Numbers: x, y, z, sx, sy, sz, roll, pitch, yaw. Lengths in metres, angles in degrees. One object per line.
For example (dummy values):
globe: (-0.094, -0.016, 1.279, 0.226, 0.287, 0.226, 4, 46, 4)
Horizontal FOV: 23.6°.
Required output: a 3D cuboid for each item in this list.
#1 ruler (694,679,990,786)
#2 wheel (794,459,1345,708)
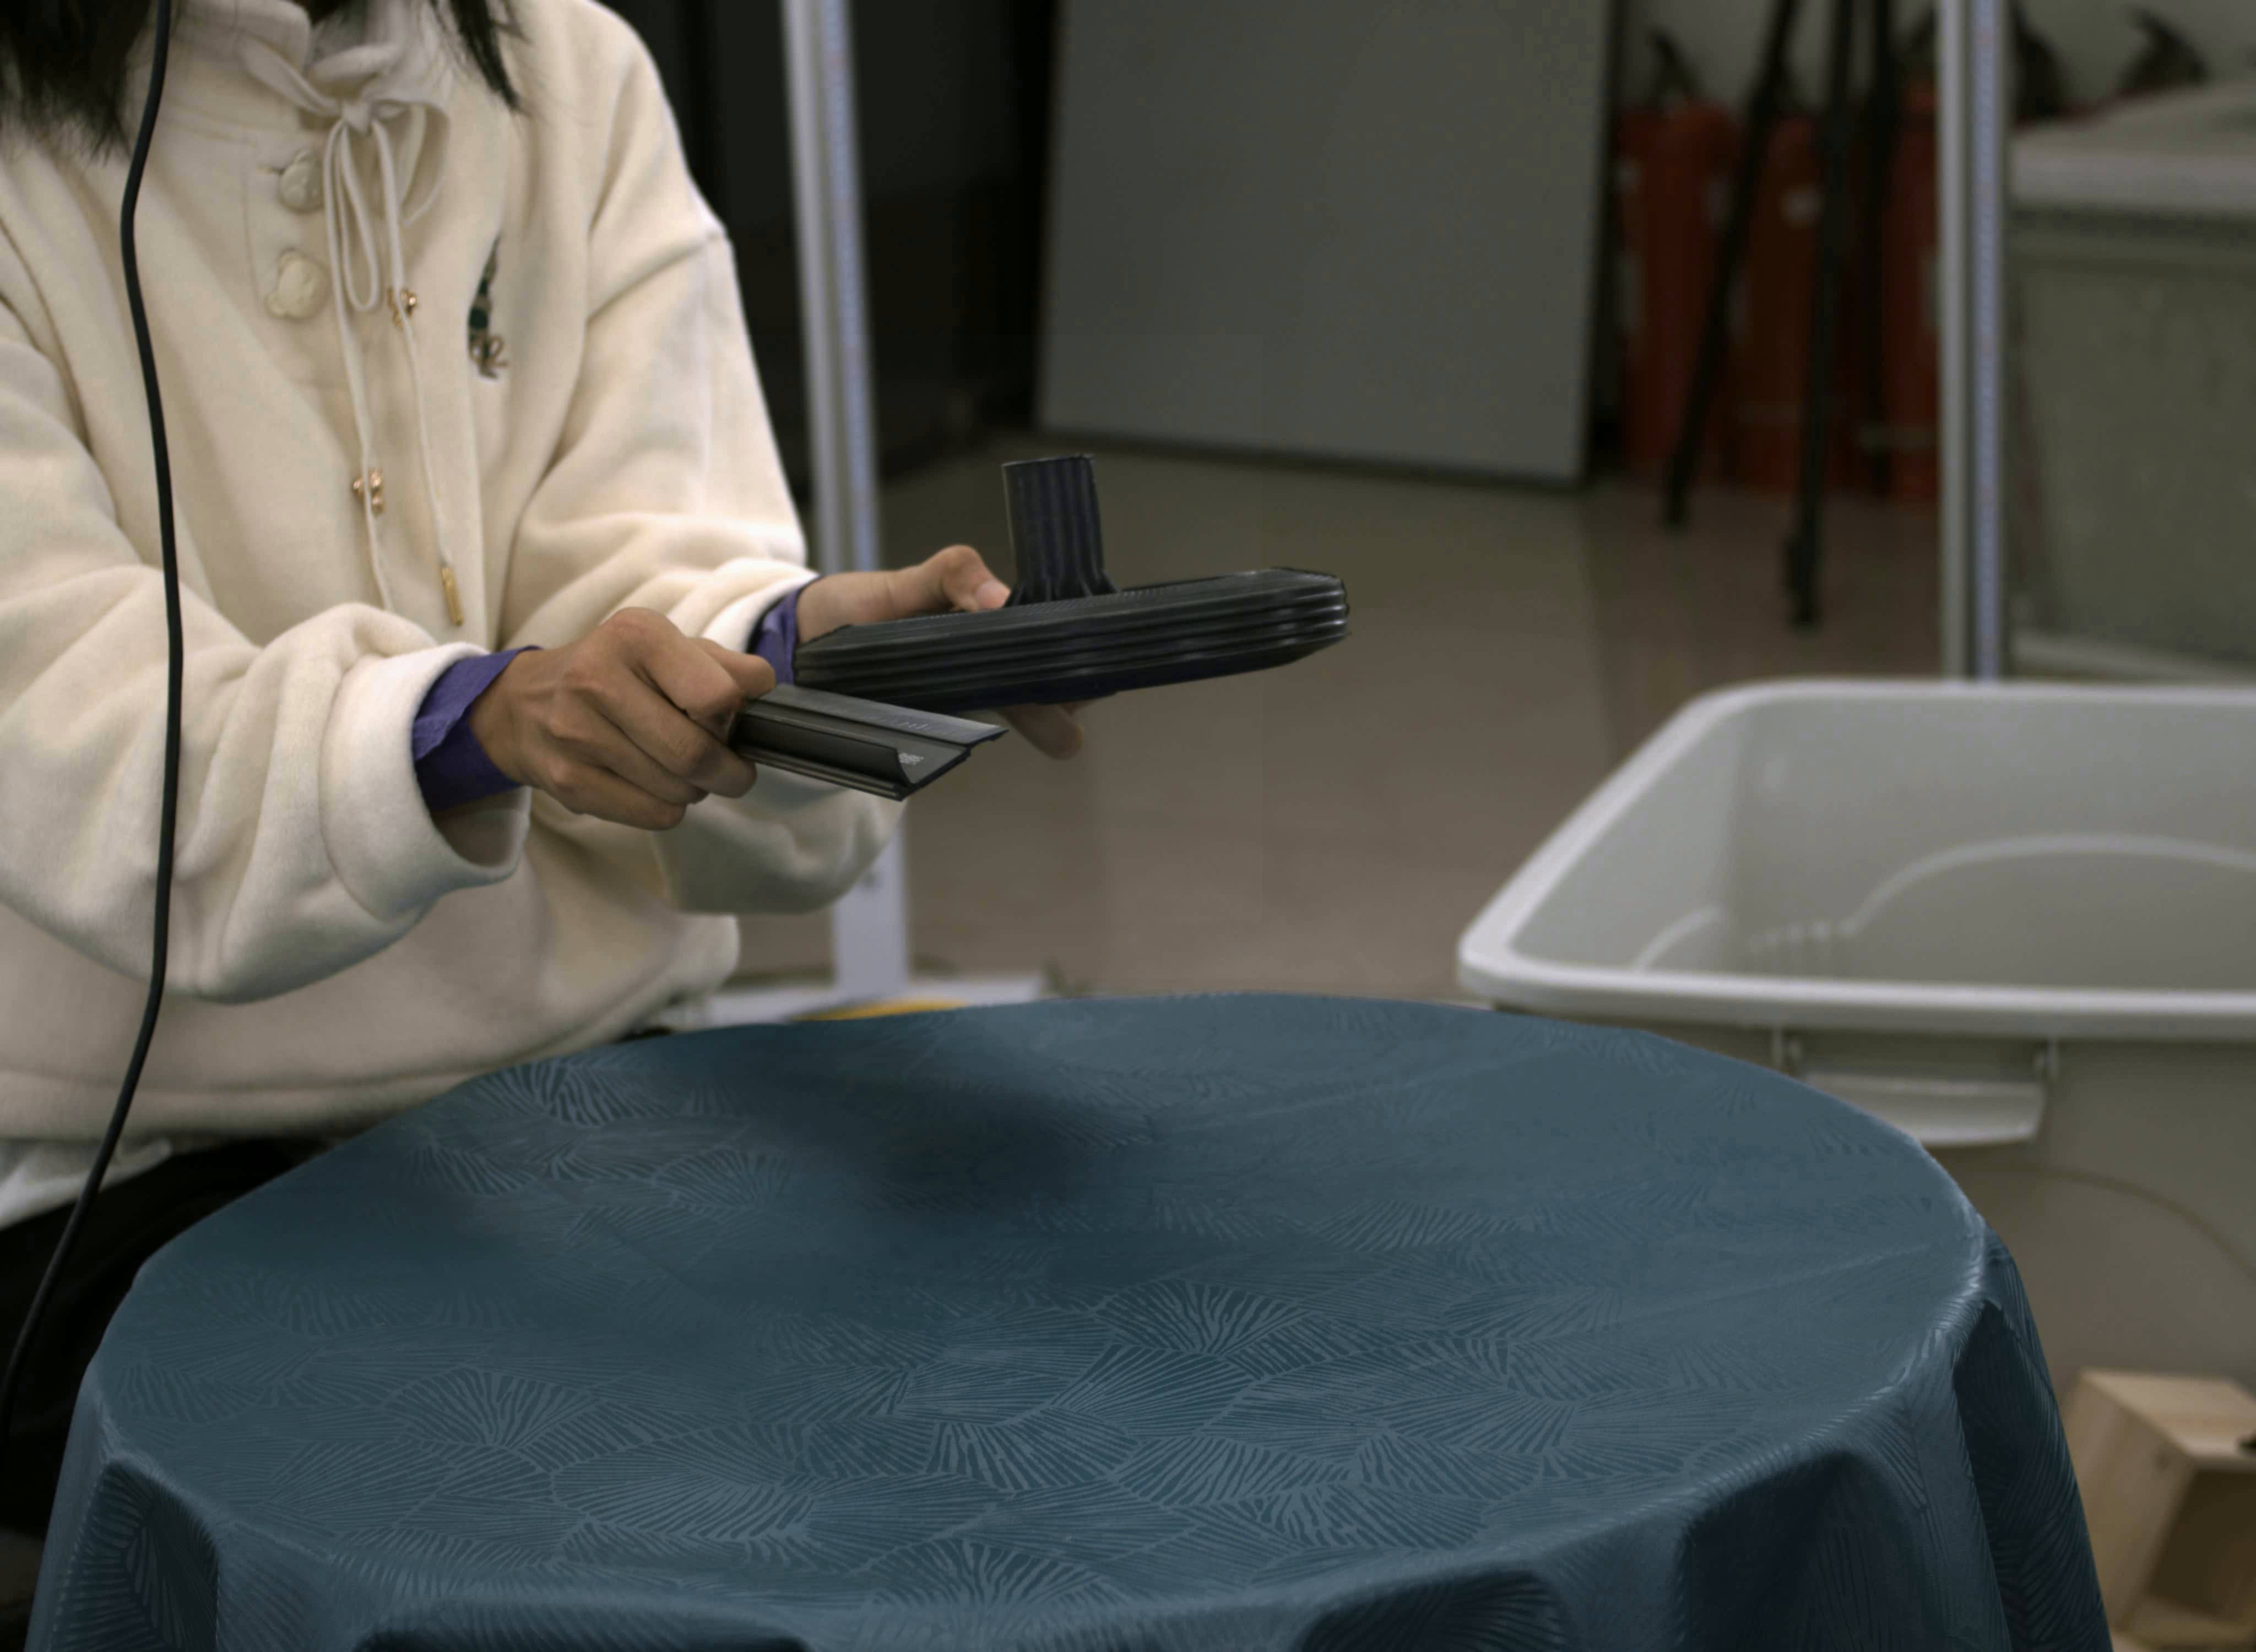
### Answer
ruler: (-0.093, -0.036, 1.664, 0.039, 0.017, 0.314, -31, 10, -11)
wheel: (-0.022, -0.081, 1.807, 0.188, 0.080, 0.186, -7, 2, 33)
